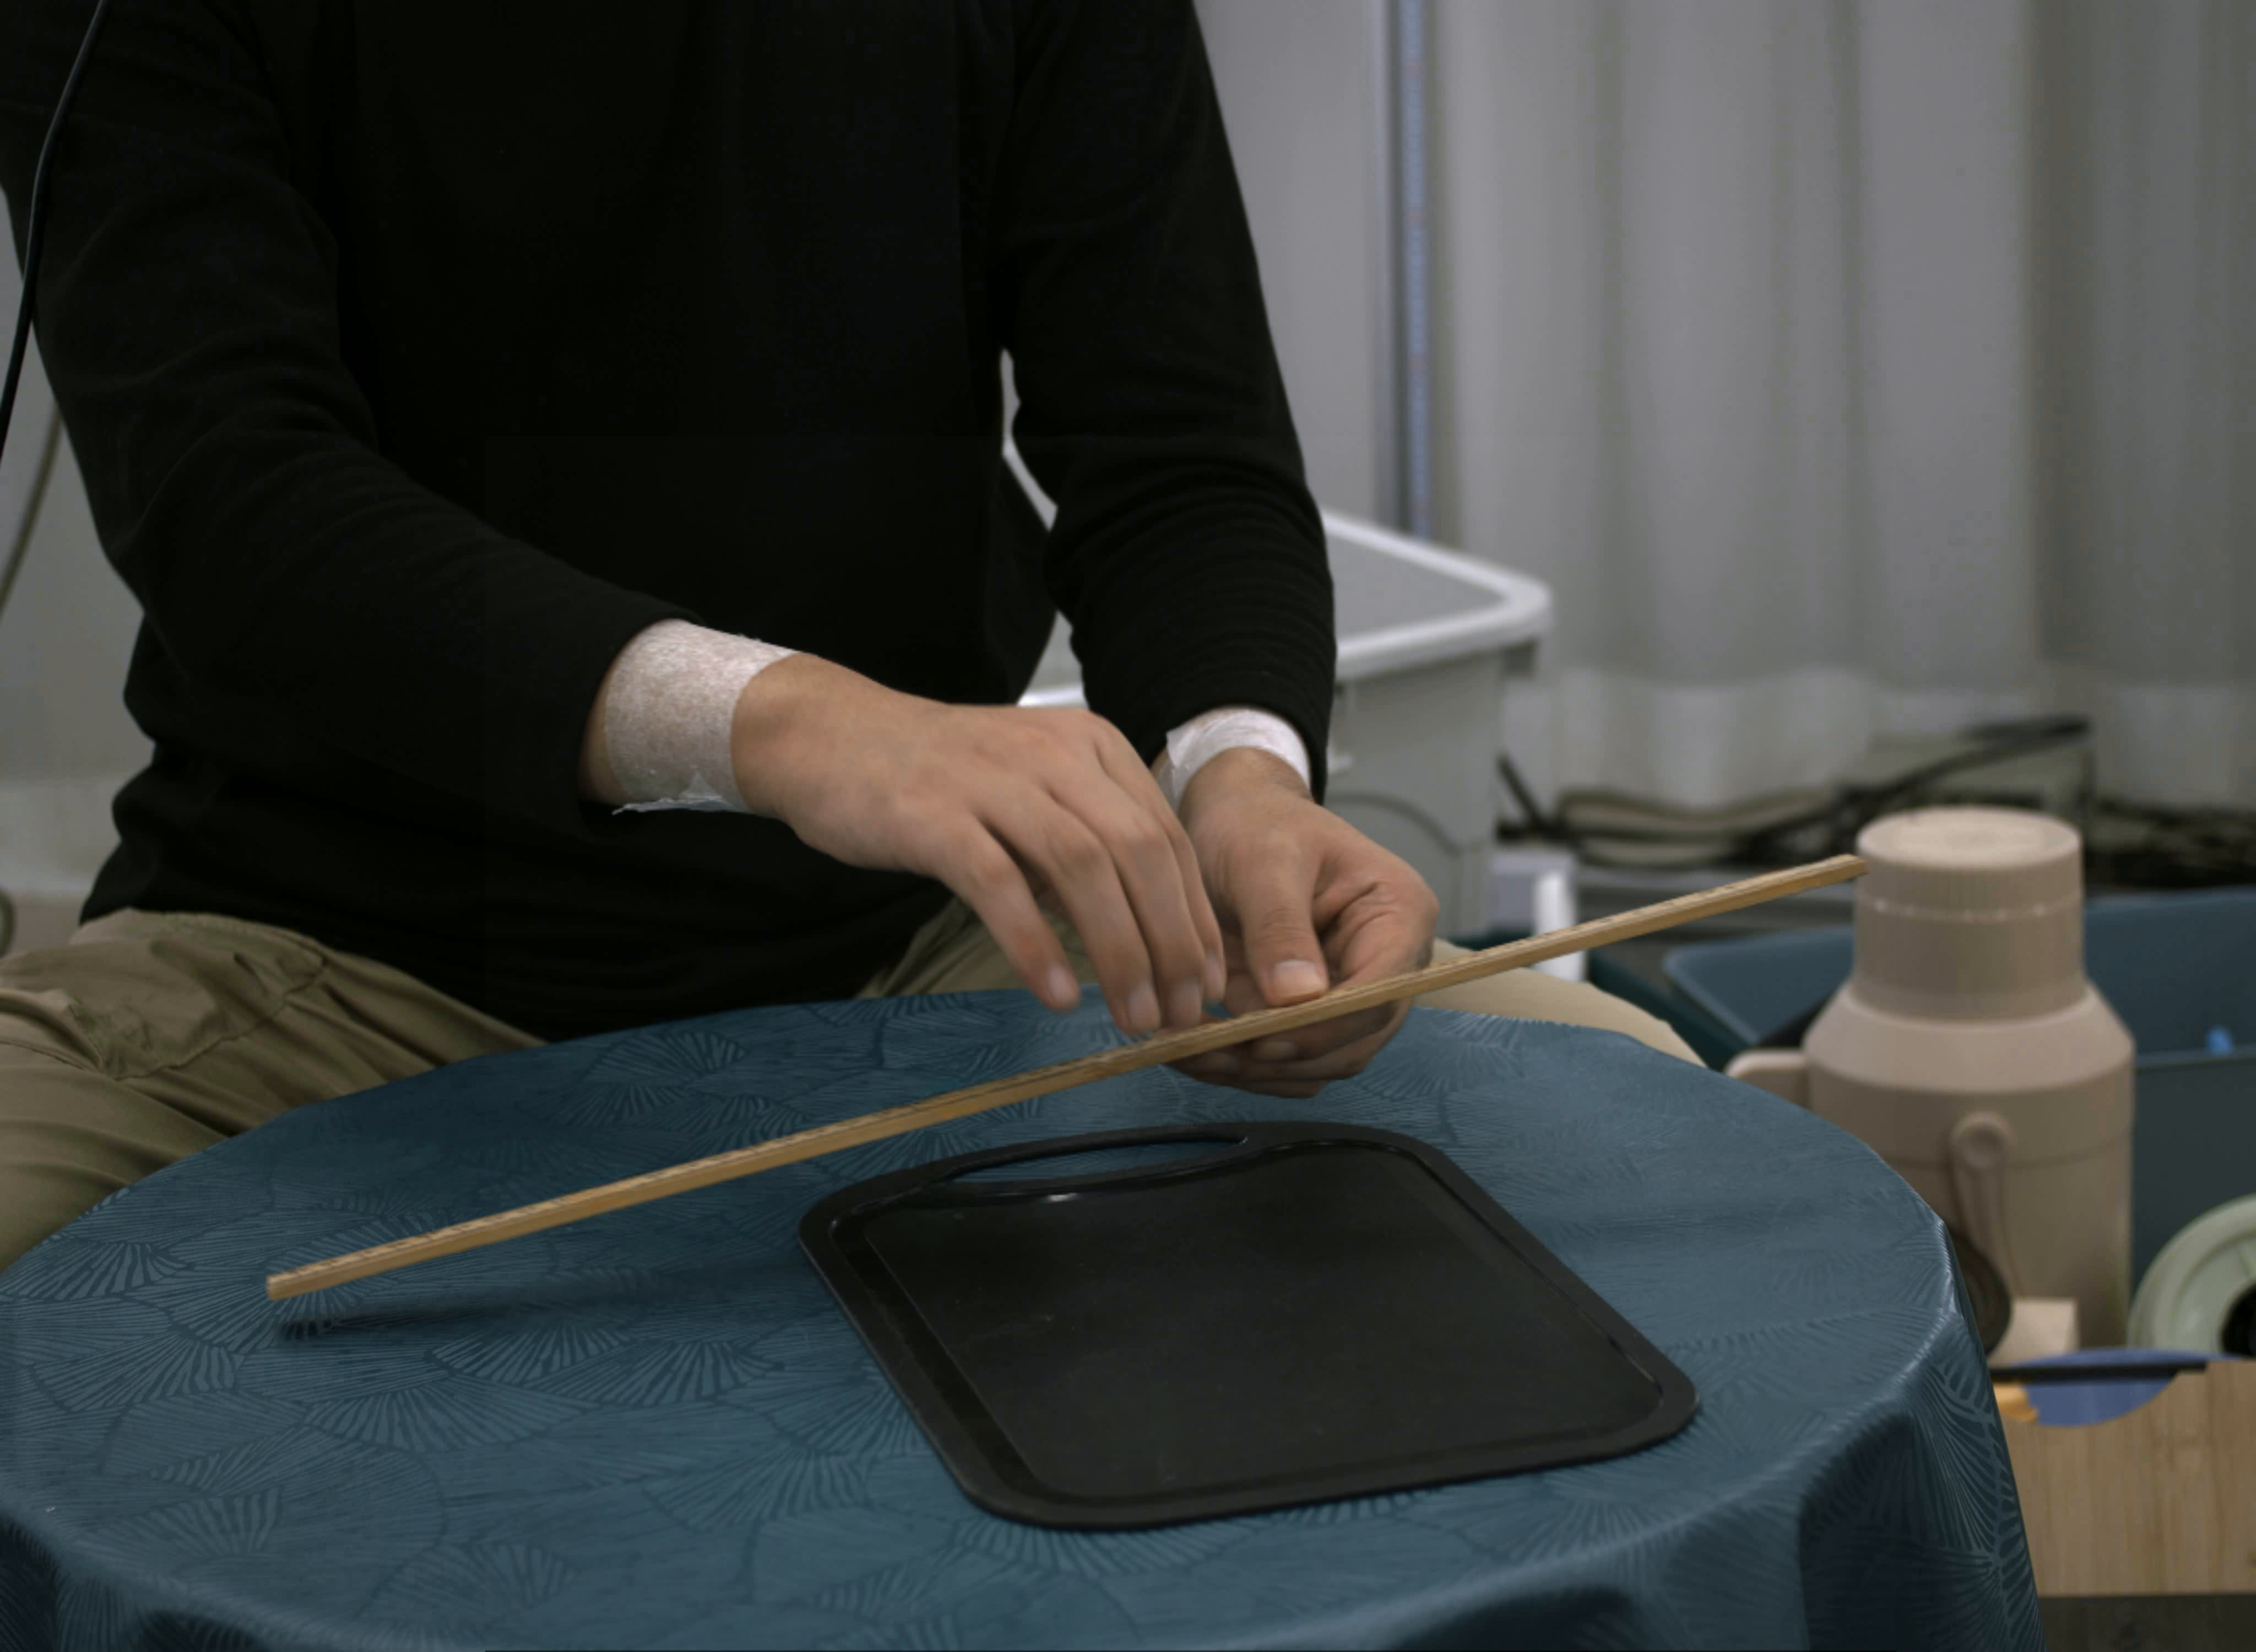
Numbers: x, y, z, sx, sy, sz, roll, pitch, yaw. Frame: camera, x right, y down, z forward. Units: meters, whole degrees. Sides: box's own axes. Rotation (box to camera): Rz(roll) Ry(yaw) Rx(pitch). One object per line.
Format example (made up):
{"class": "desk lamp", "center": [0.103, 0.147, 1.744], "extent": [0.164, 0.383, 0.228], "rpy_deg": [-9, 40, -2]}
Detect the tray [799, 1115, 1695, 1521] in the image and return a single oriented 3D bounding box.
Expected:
{"class": "tray", "center": [0.024, 0.137, 1.608], "extent": [0.210, 0.010, 0.328], "rpy_deg": [-6, 16, -13]}

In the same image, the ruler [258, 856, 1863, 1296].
{"class": "ruler", "center": [-0.018, 0.074, 1.651], "extent": [0.499, 0.006, 0.027], "rpy_deg": [-15, 2, -5]}
